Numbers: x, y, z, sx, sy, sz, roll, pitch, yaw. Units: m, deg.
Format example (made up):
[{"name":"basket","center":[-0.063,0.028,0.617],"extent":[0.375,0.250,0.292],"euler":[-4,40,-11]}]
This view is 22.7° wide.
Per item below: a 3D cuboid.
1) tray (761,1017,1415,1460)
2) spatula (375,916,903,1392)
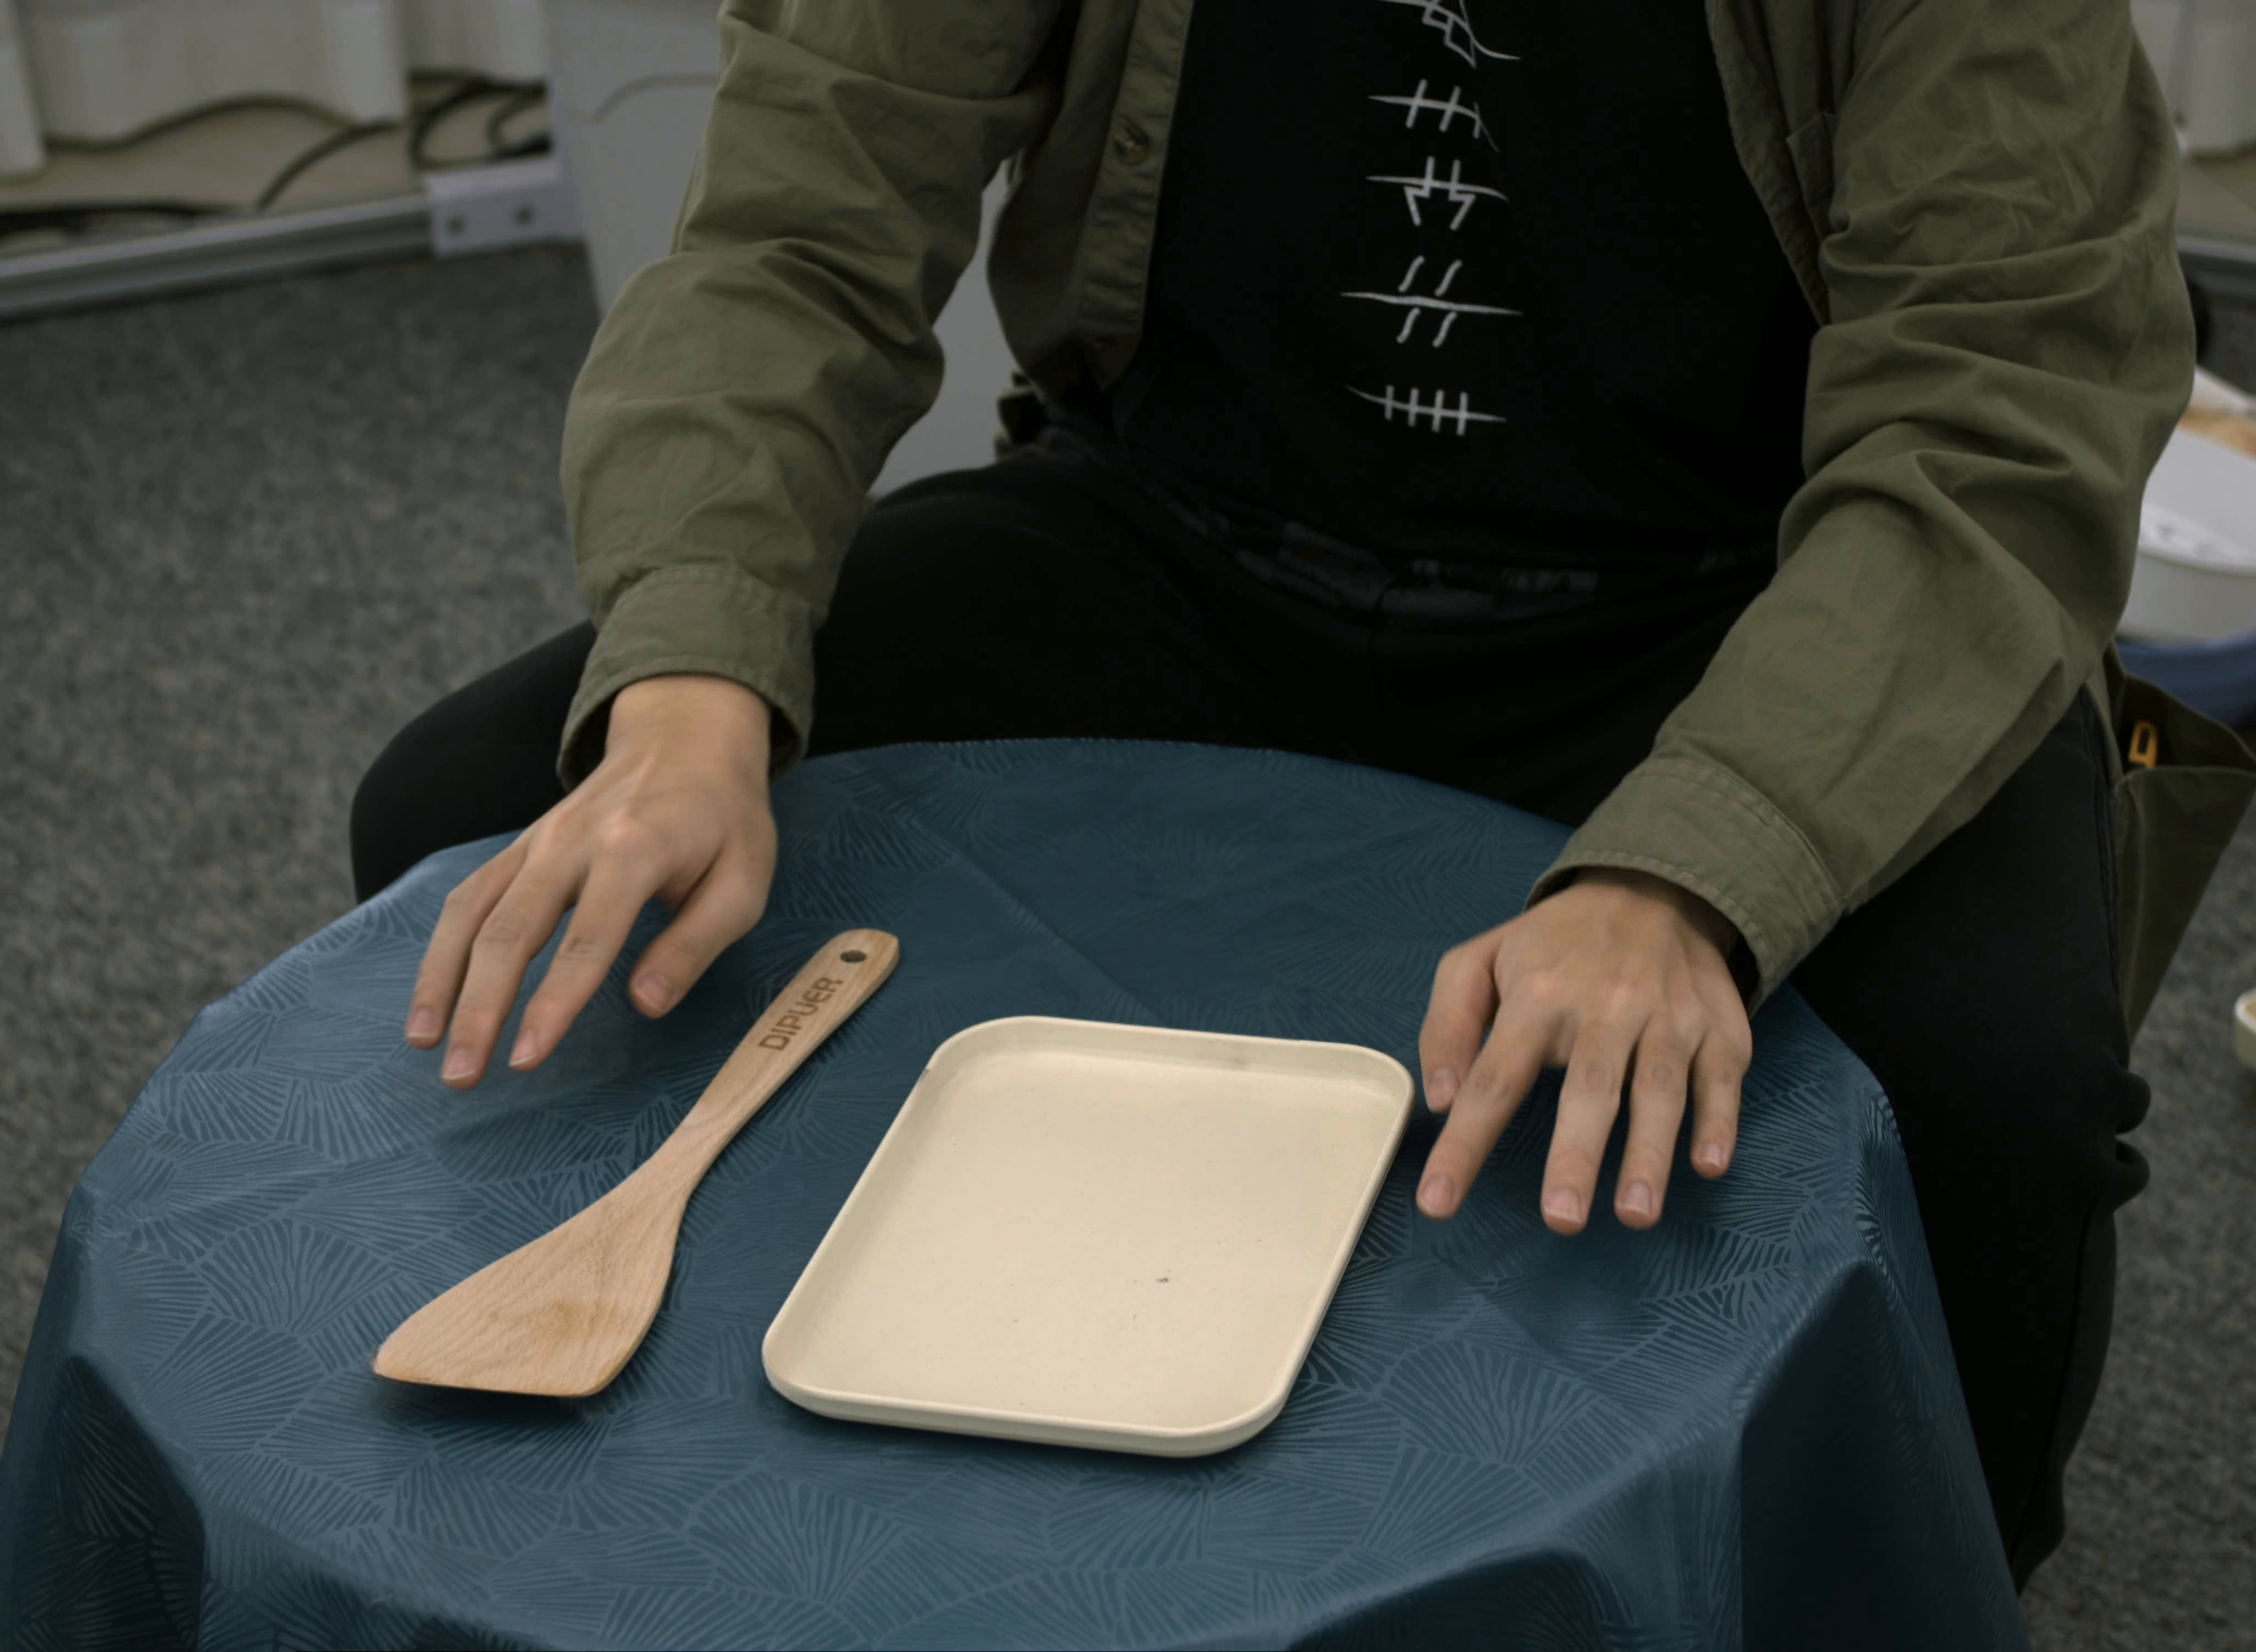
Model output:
[{"name":"tray","center":[-0.009,0.132,1.818],"extent":[0.170,0.017,0.244],"euler":[5,28,15]},{"name":"spatula","center":[-0.146,0.106,1.882],"extent":[0.079,0.016,0.333],"euler":[8,30,19]}]
